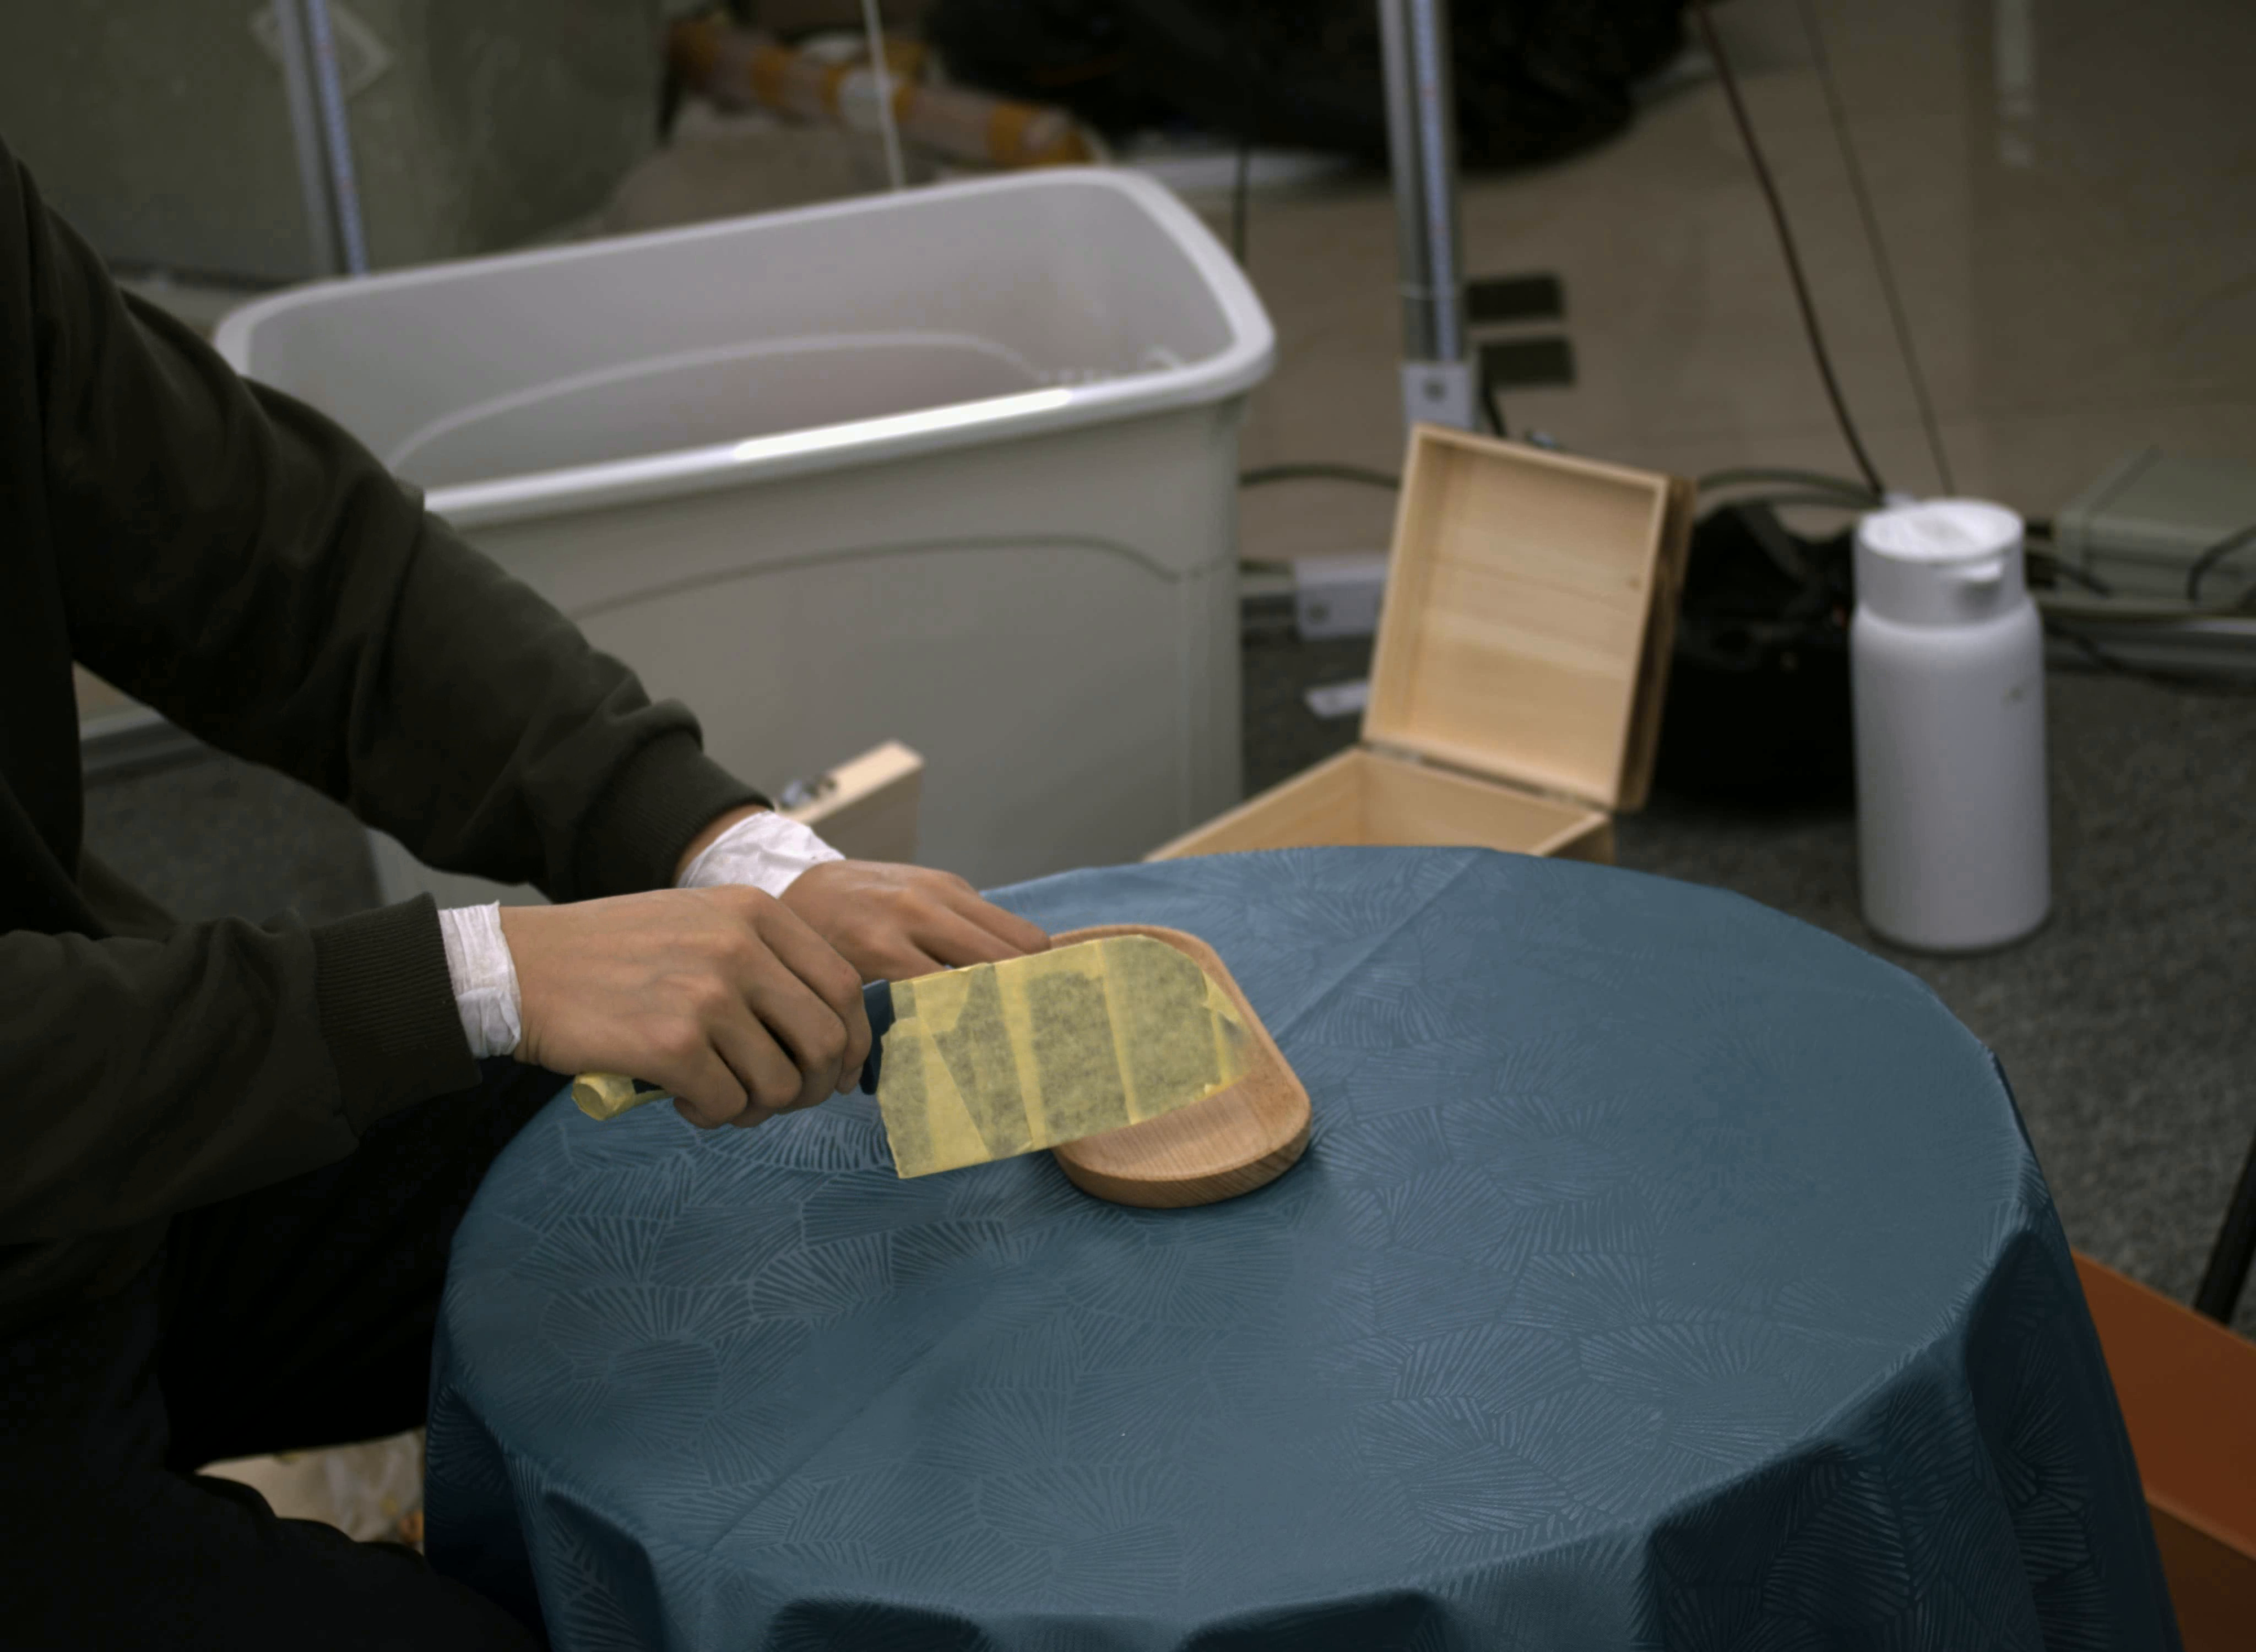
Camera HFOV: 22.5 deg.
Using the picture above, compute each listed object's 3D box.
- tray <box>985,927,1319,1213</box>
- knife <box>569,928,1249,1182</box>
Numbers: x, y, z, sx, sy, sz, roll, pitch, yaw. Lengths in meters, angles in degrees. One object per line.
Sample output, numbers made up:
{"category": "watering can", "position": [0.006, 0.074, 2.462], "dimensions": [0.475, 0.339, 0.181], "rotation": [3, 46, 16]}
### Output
{"category": "tray", "position": [0.007, 0.094, 2.228], "dimensions": [0.101, 0.020, 0.228], "rotation": [-14, 27, -10]}
{"category": "knife", "position": [-0.075, 0.090, 2.106], "dimensions": [0.288, 0.081, 0.027], "rotation": [-8, -4, -31]}
